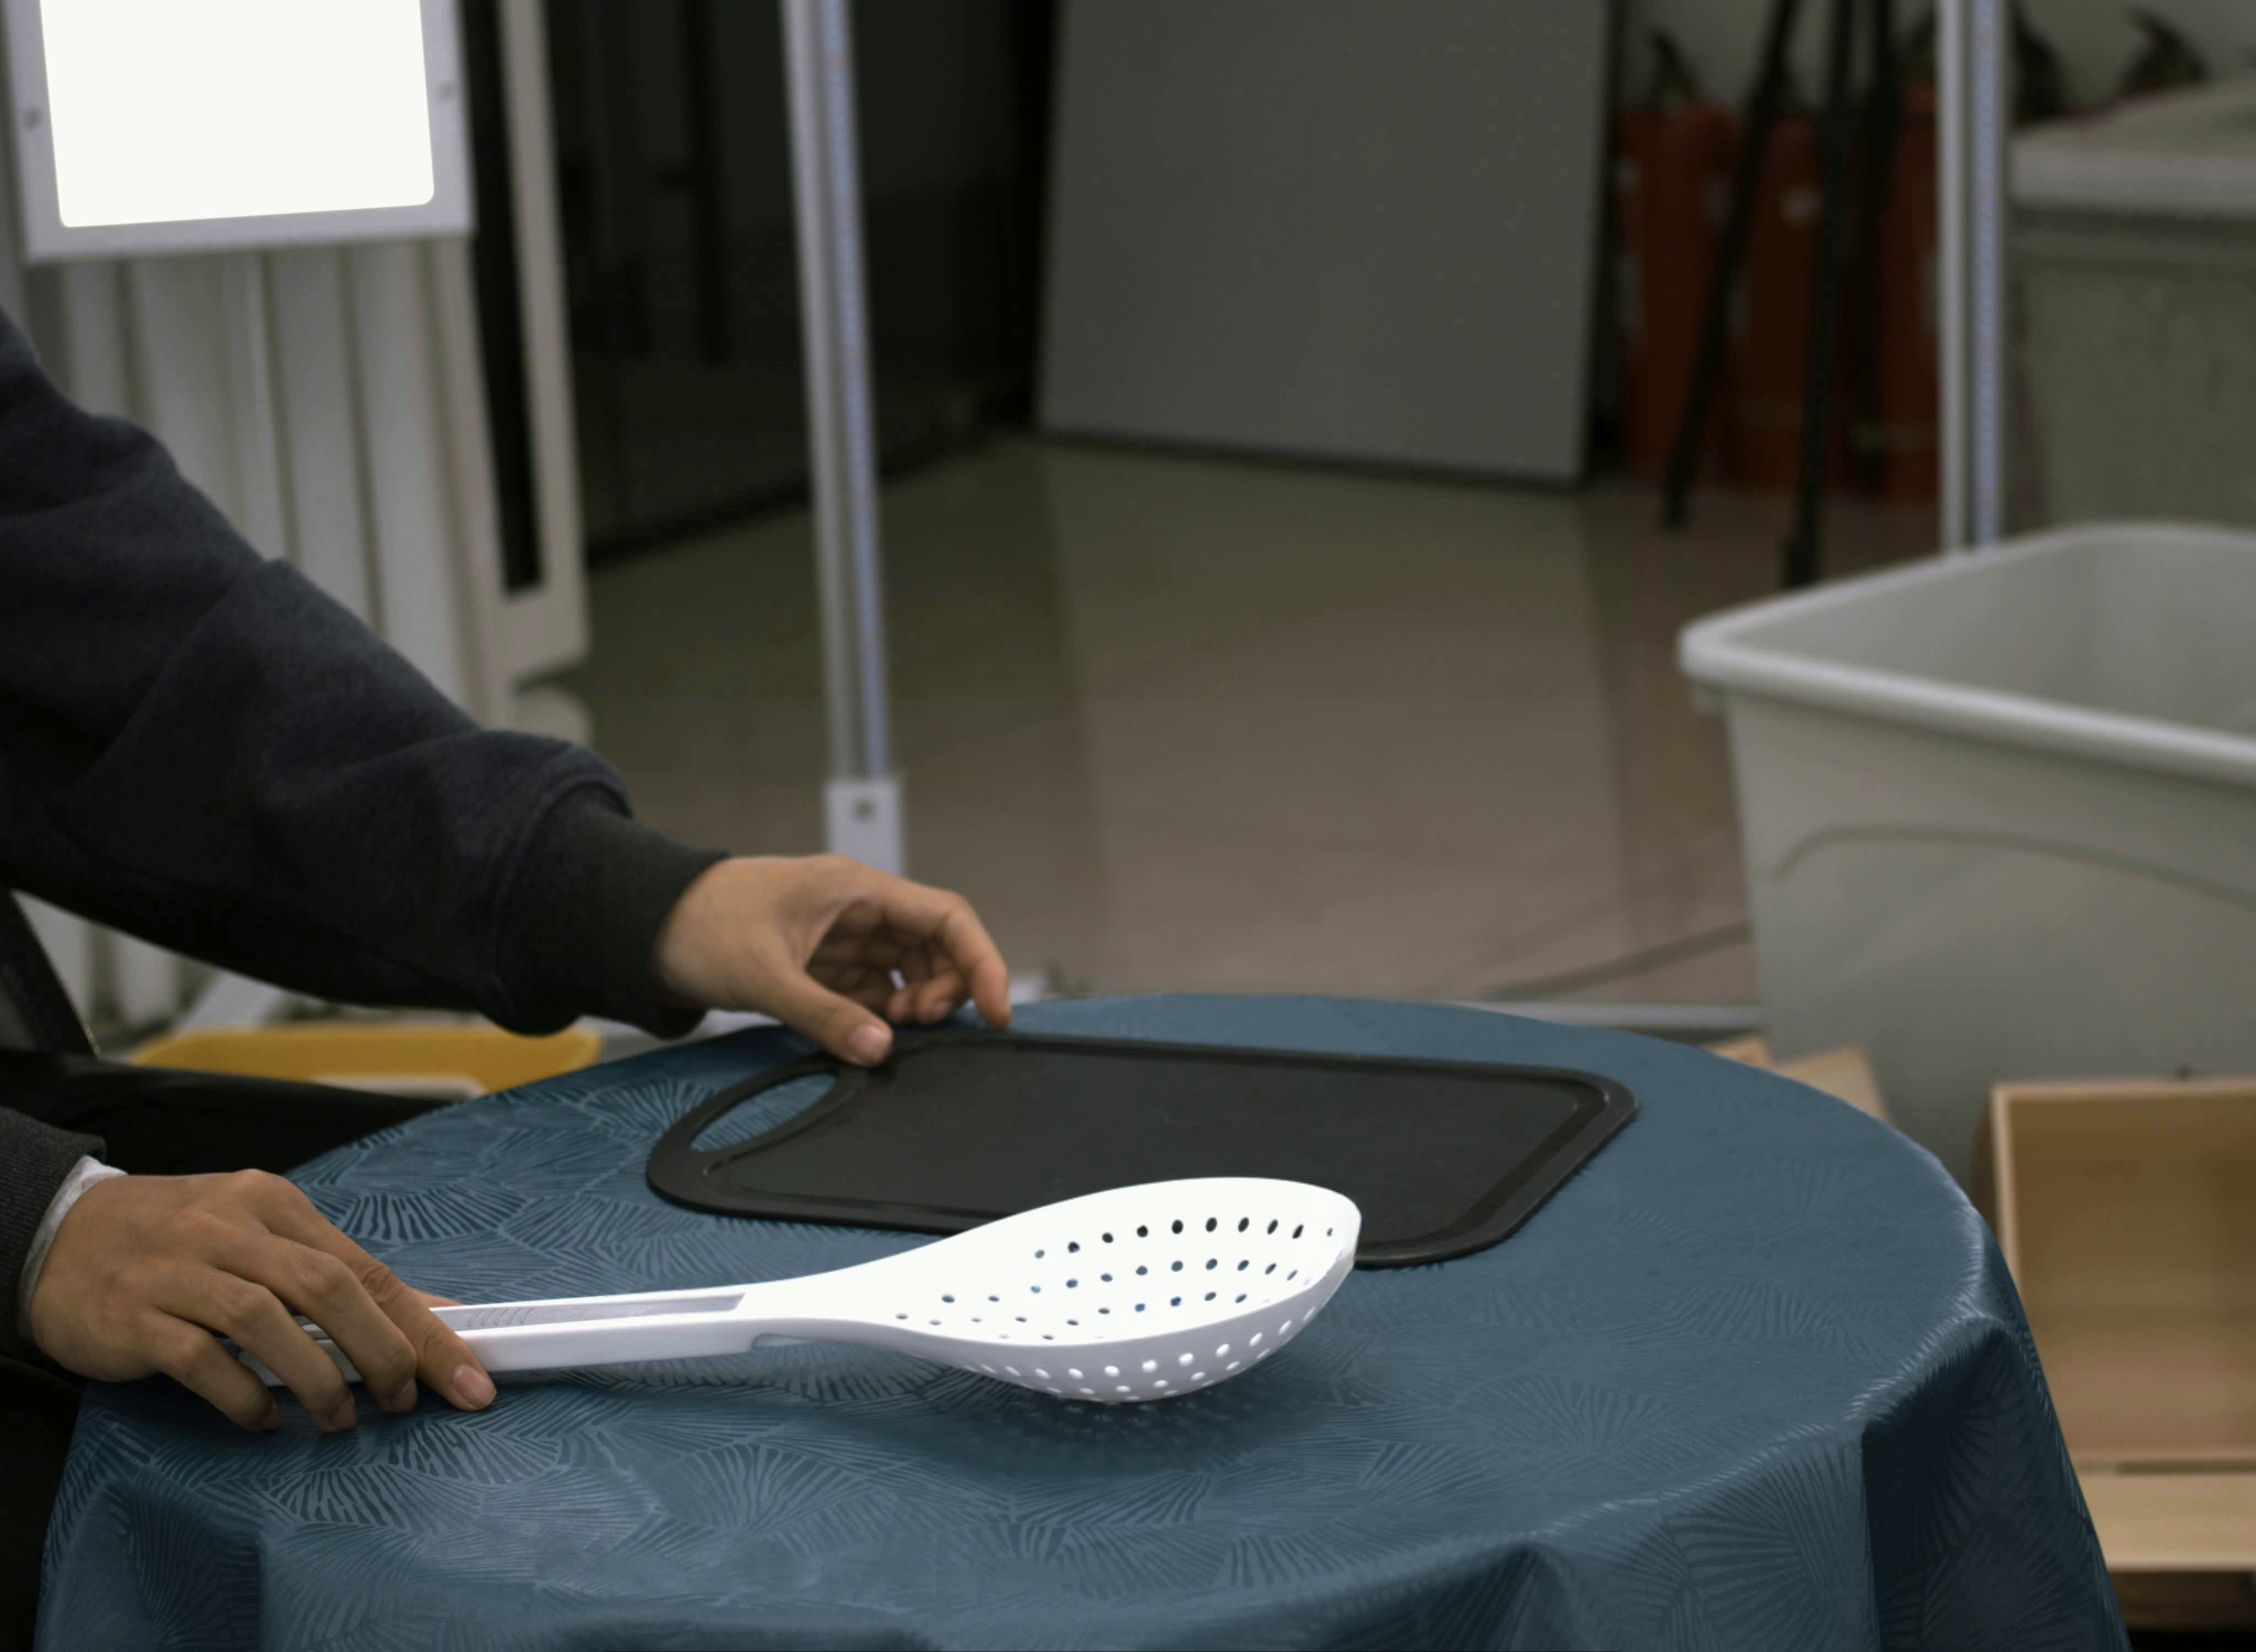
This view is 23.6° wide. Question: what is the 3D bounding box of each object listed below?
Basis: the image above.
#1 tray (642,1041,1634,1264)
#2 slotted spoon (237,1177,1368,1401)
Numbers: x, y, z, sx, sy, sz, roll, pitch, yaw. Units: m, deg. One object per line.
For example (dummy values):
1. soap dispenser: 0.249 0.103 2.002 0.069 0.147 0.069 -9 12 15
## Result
1. tray: -0.003 0.106 1.817 0.326 0.010 0.208 2 15 25
2. slotted spoon: -0.099 0.145 1.604 0.347 0.046 0.135 -2 14 12
